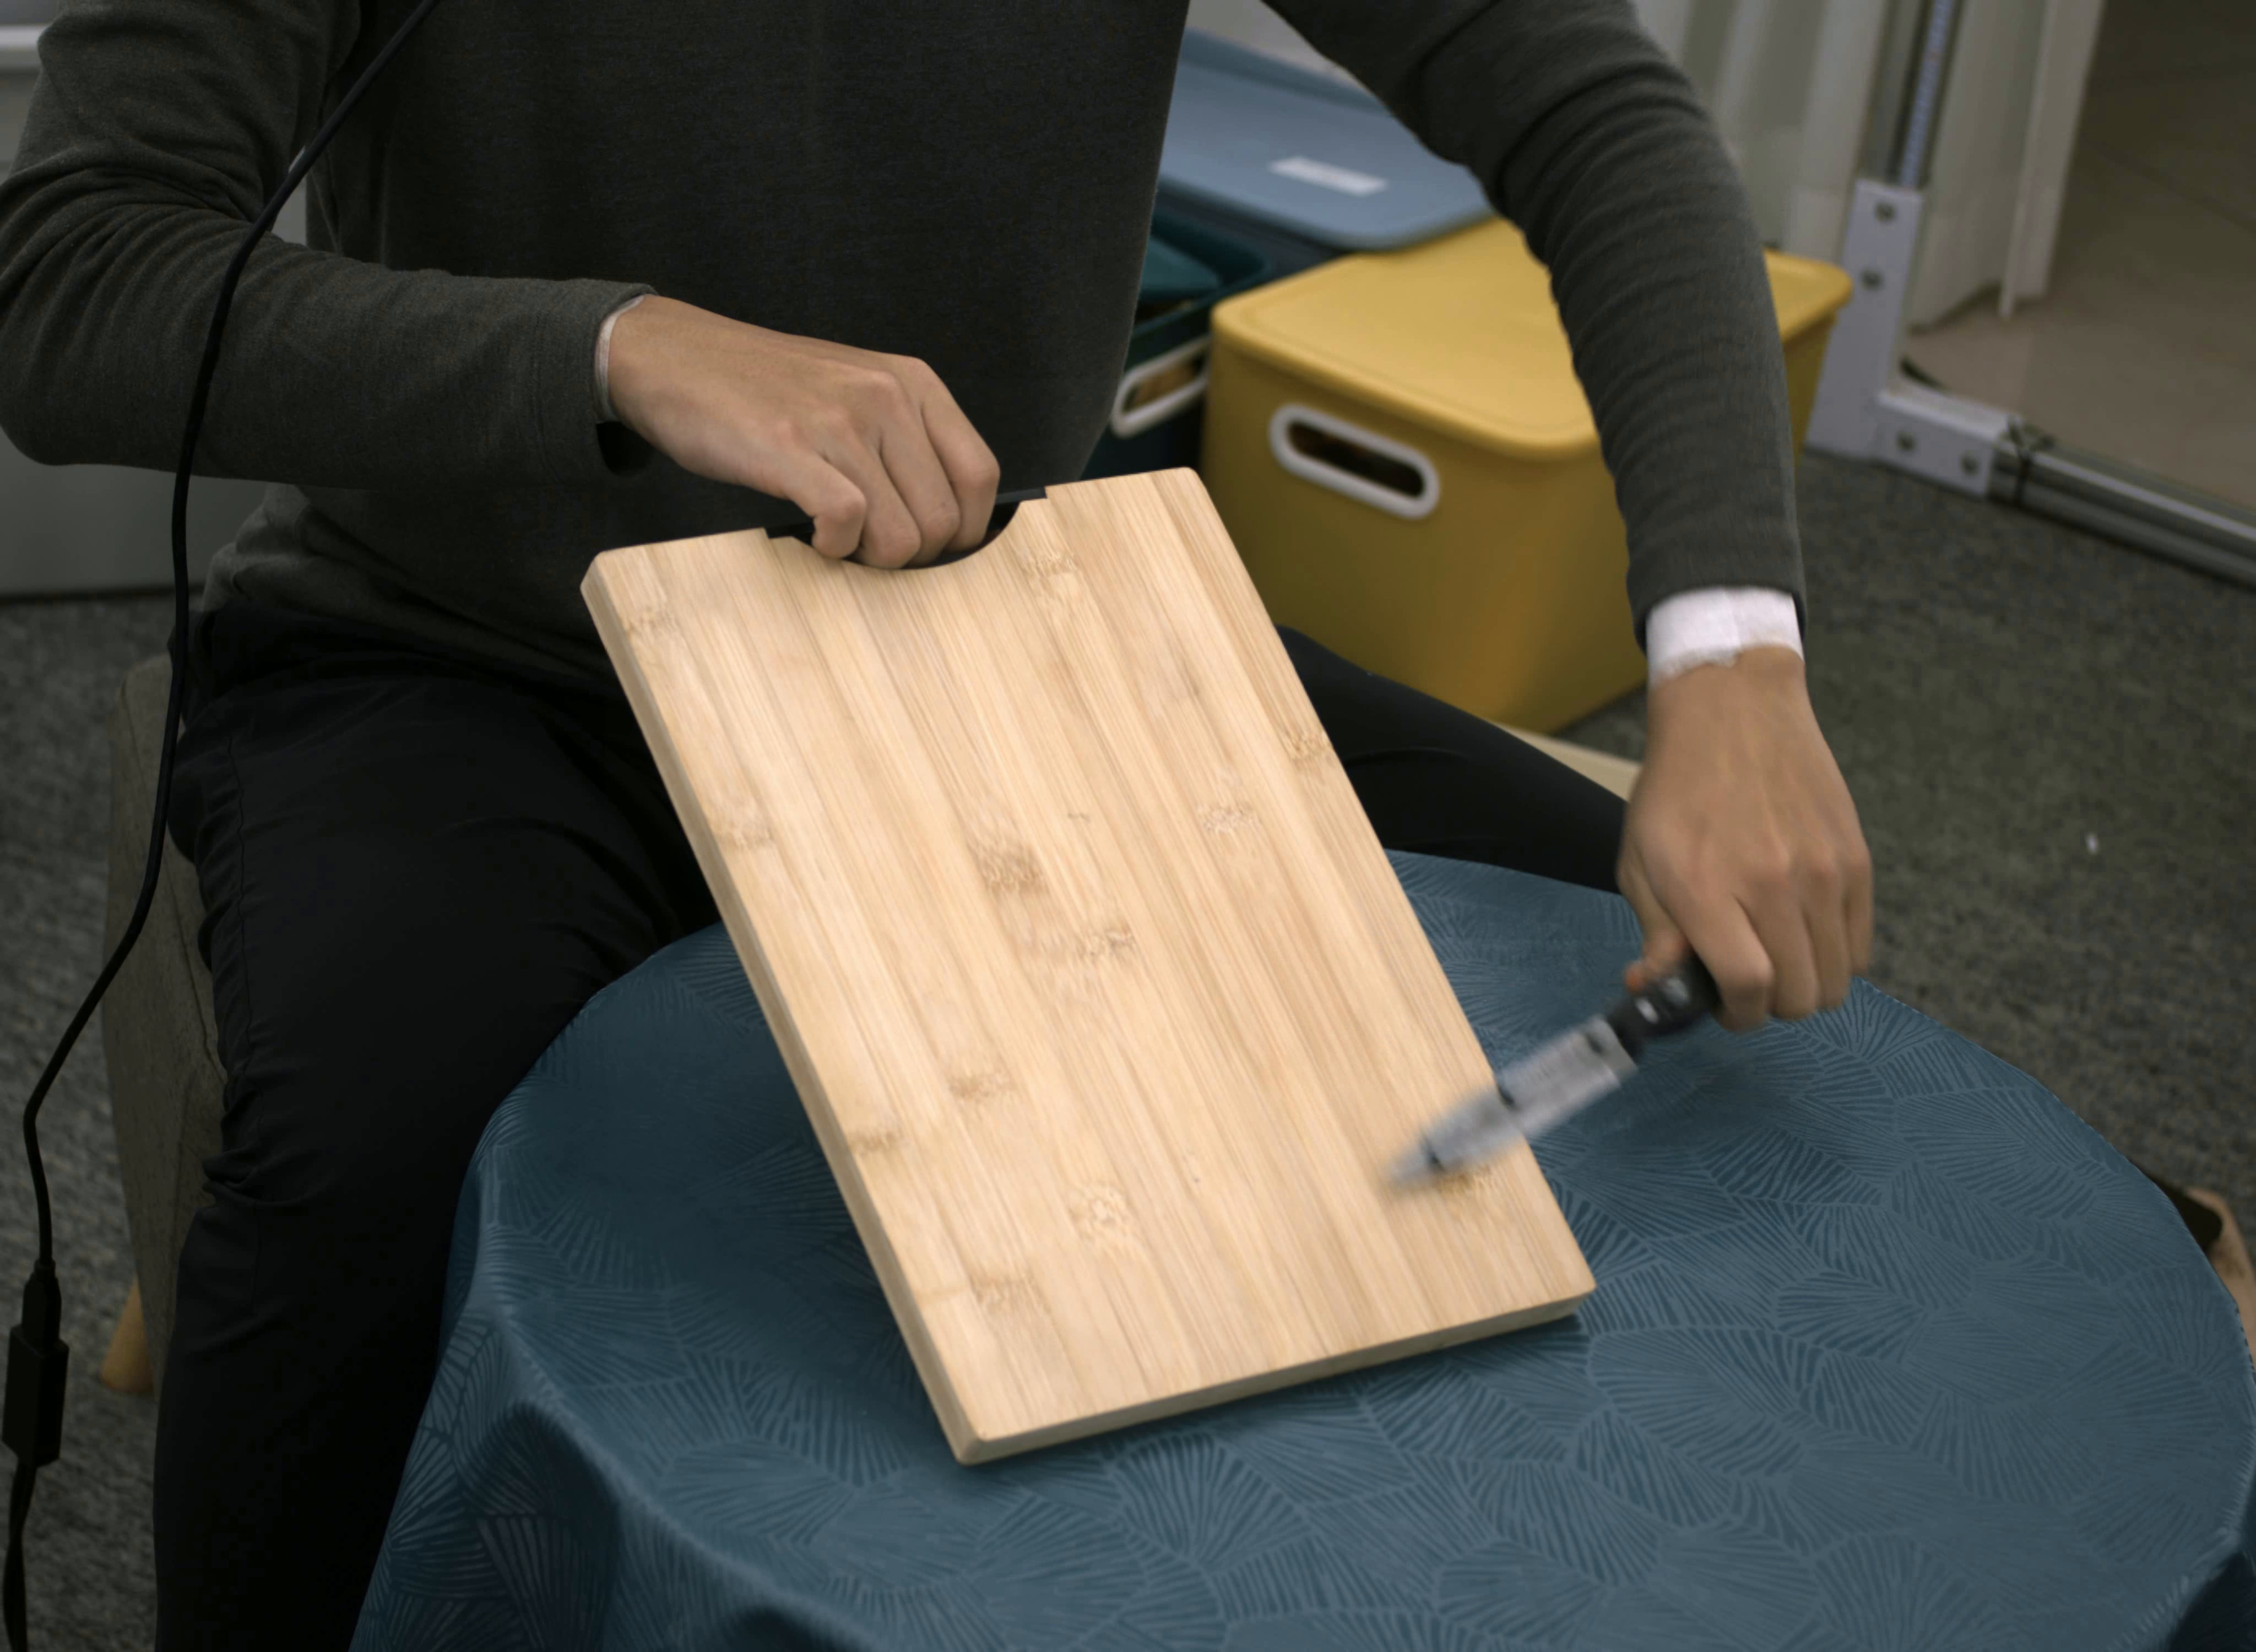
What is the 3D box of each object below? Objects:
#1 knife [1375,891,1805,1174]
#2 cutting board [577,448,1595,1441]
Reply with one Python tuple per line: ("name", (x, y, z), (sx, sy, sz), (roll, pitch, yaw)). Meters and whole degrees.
("knife", (0.157, 0.070, 1.817), (0.237, 0.016, 0.024), (-28, 73, -42))
("cutting board", (-0.016, 0.031, 1.773), (0.249, 0.023, 0.351), (-11, 62, -31))
